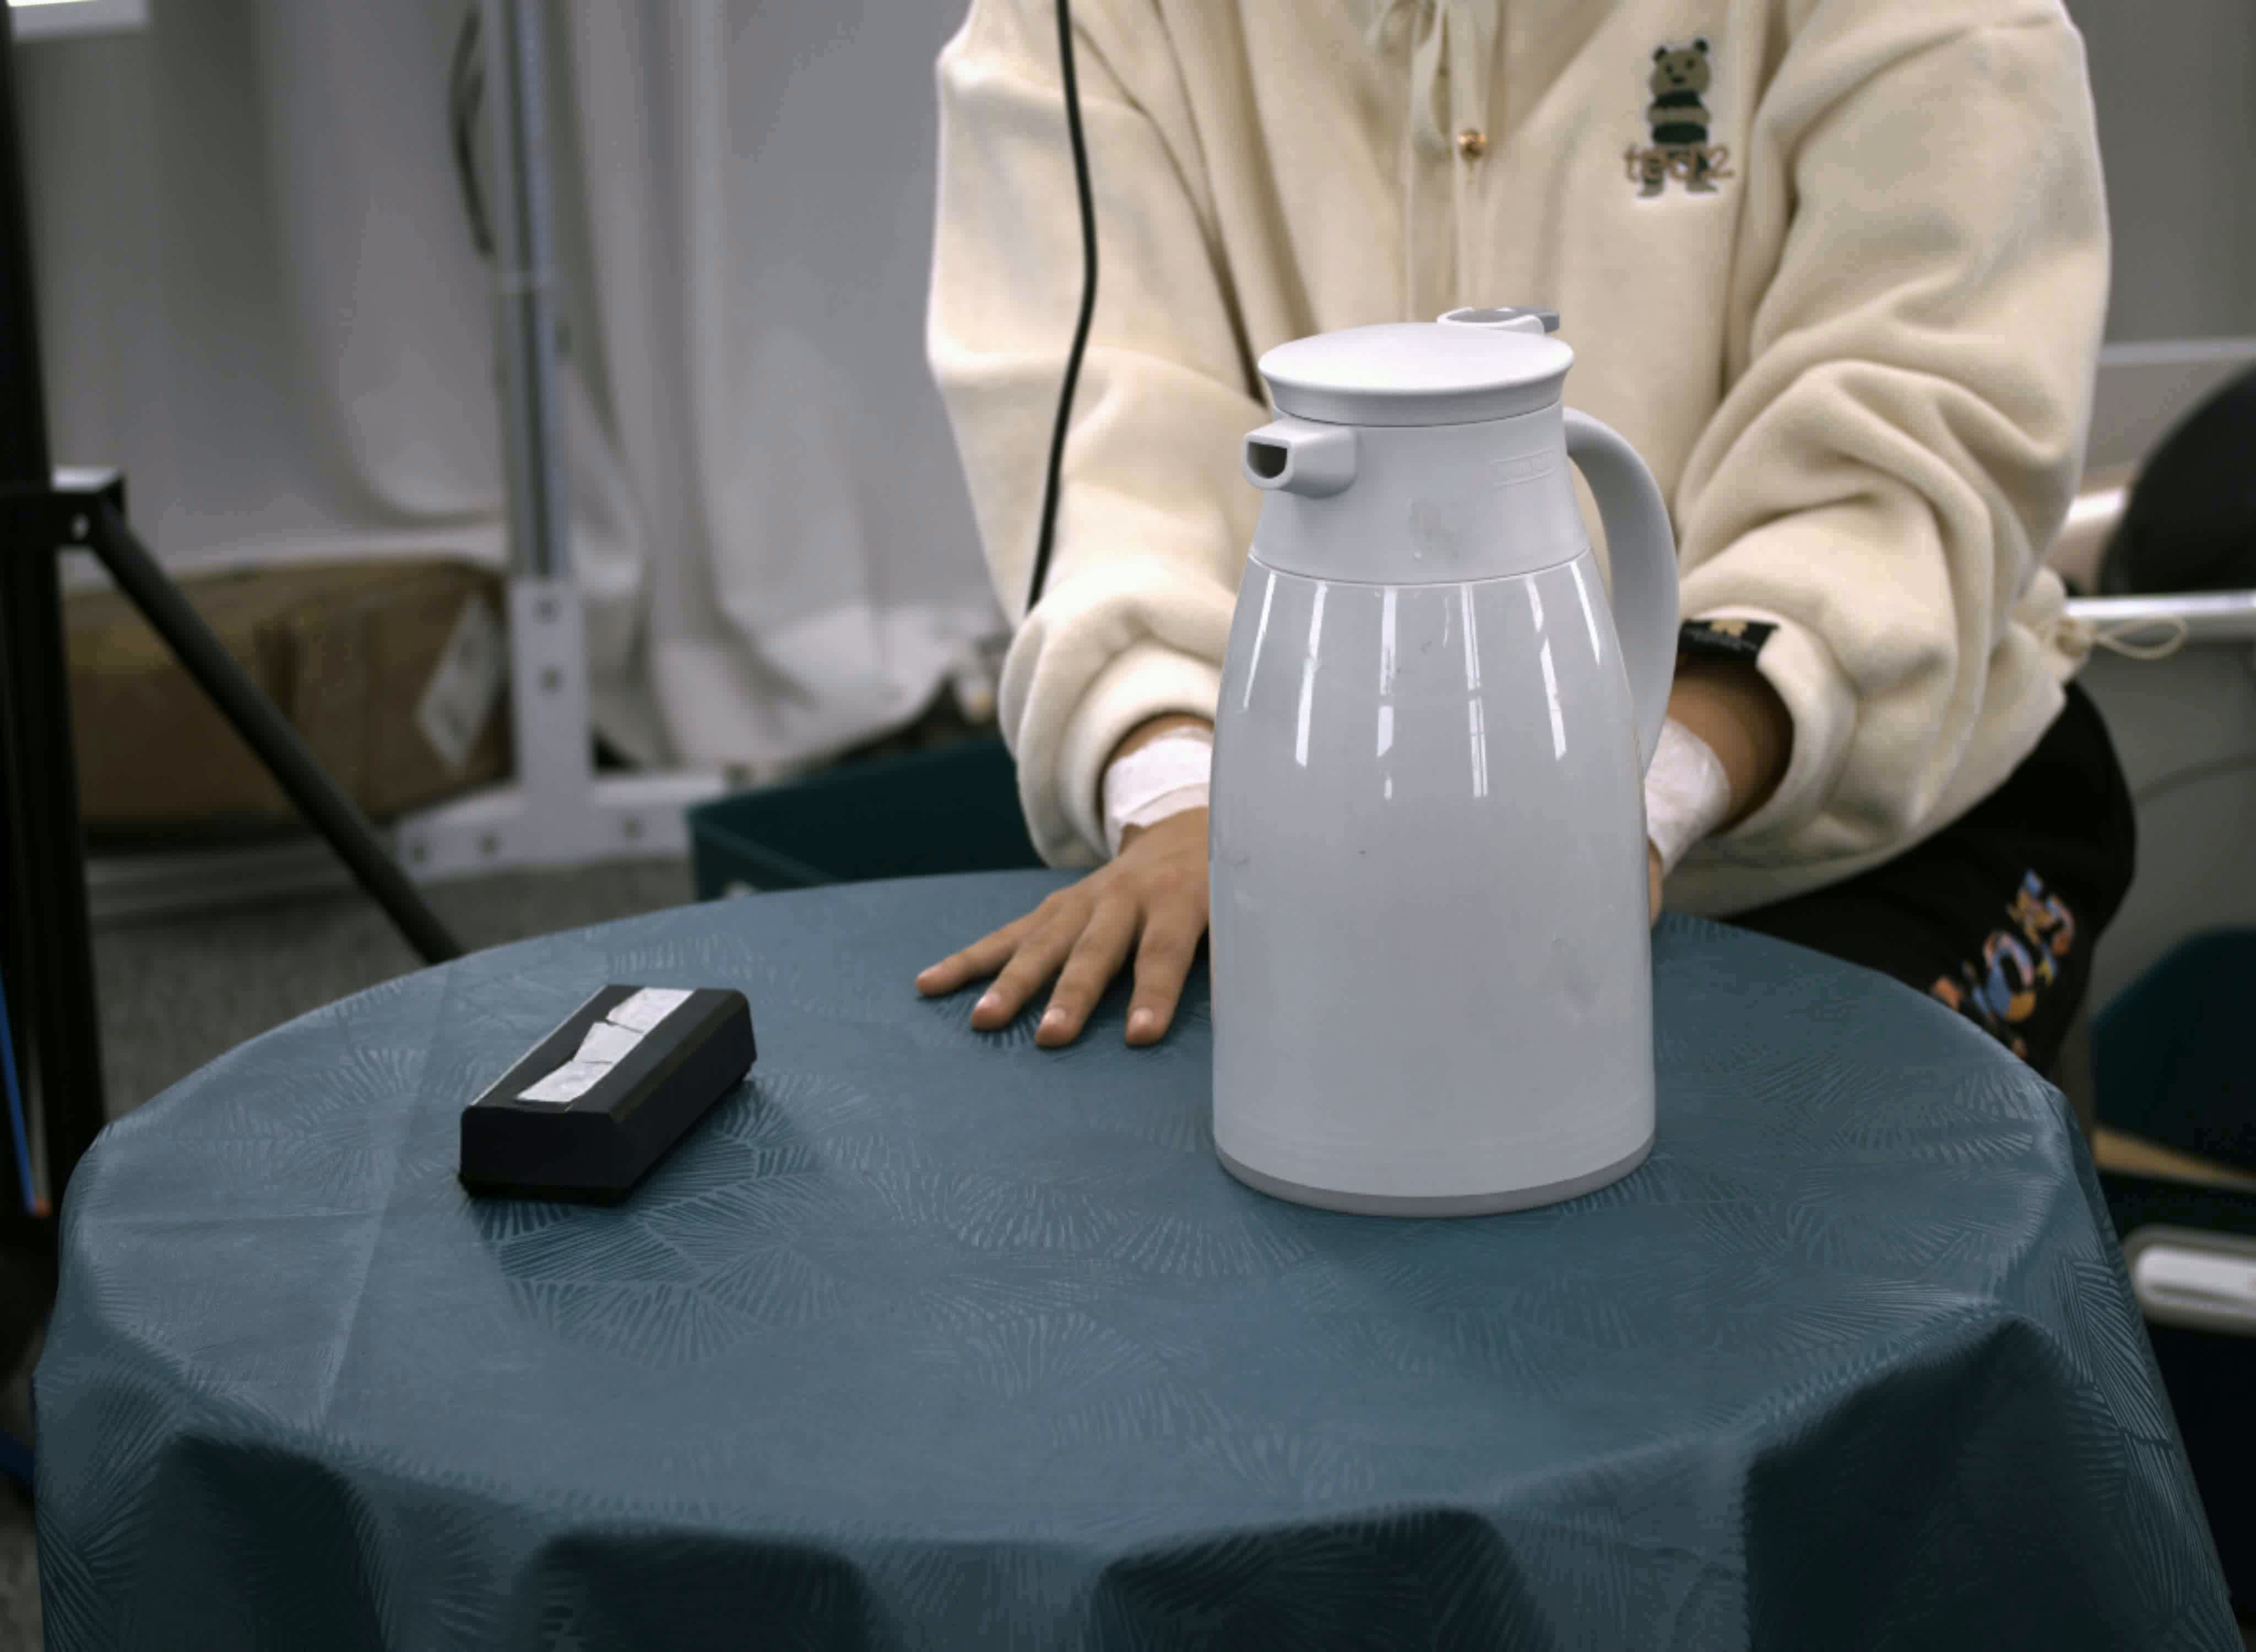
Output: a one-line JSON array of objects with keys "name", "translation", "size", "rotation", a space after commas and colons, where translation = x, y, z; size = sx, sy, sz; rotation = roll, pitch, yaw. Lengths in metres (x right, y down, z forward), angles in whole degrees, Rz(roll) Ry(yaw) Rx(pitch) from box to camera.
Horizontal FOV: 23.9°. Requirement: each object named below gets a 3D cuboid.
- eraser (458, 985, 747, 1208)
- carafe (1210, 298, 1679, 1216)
[{"name": "eraser", "translation": [-0.158, 0.082, 1.624], "size": [0.054, 0.030, 0.124], "rotation": [3, 16, 13]}, {"name": "carafe", "translation": [0.101, -0.028, 1.567], "size": [0.164, 0.249, 0.135], "rotation": [-15, 19, -42]}]
